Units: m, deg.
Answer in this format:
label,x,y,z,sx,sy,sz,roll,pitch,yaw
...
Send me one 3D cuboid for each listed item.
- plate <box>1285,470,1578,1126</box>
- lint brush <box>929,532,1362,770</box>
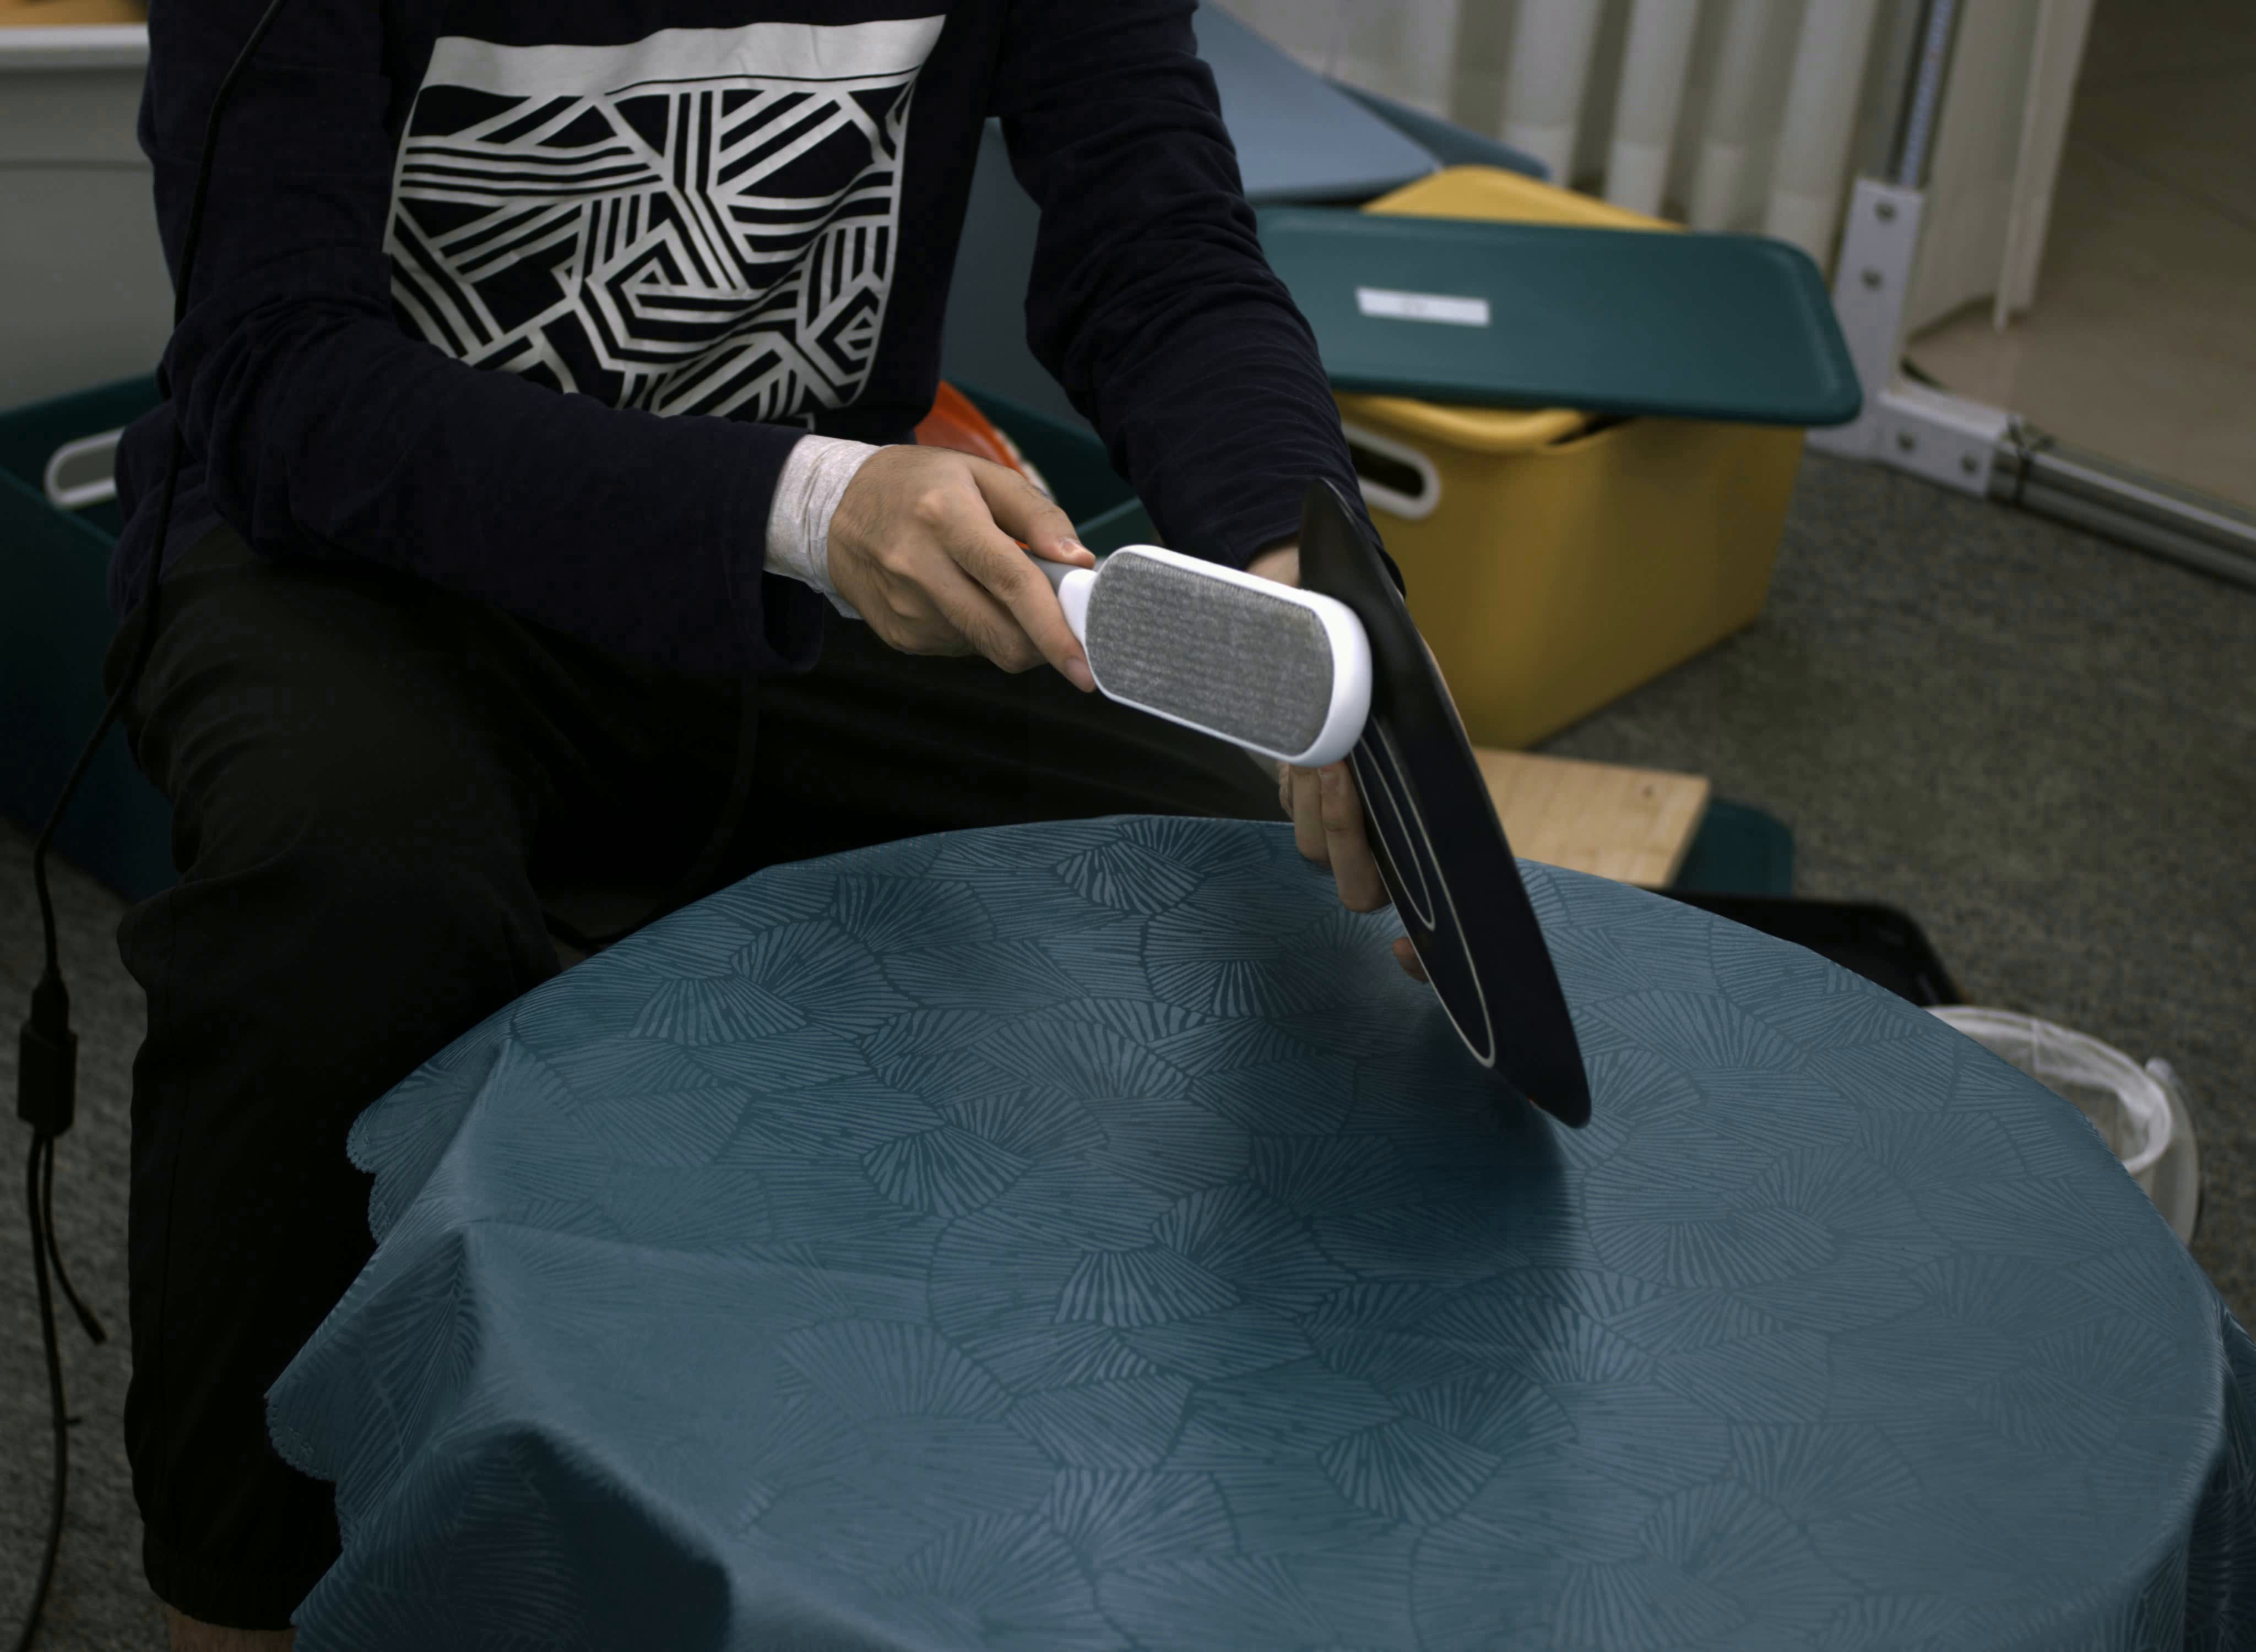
label,x,y,z,sx,sy,sz,roll,pitch,yaw
plate,0.099,-0.006,1.834,0.023,0.243,0.246,-22,31,-3
lint brush,0.002,-0.072,1.877,0.021,0.060,0.311,-2,12,-27
